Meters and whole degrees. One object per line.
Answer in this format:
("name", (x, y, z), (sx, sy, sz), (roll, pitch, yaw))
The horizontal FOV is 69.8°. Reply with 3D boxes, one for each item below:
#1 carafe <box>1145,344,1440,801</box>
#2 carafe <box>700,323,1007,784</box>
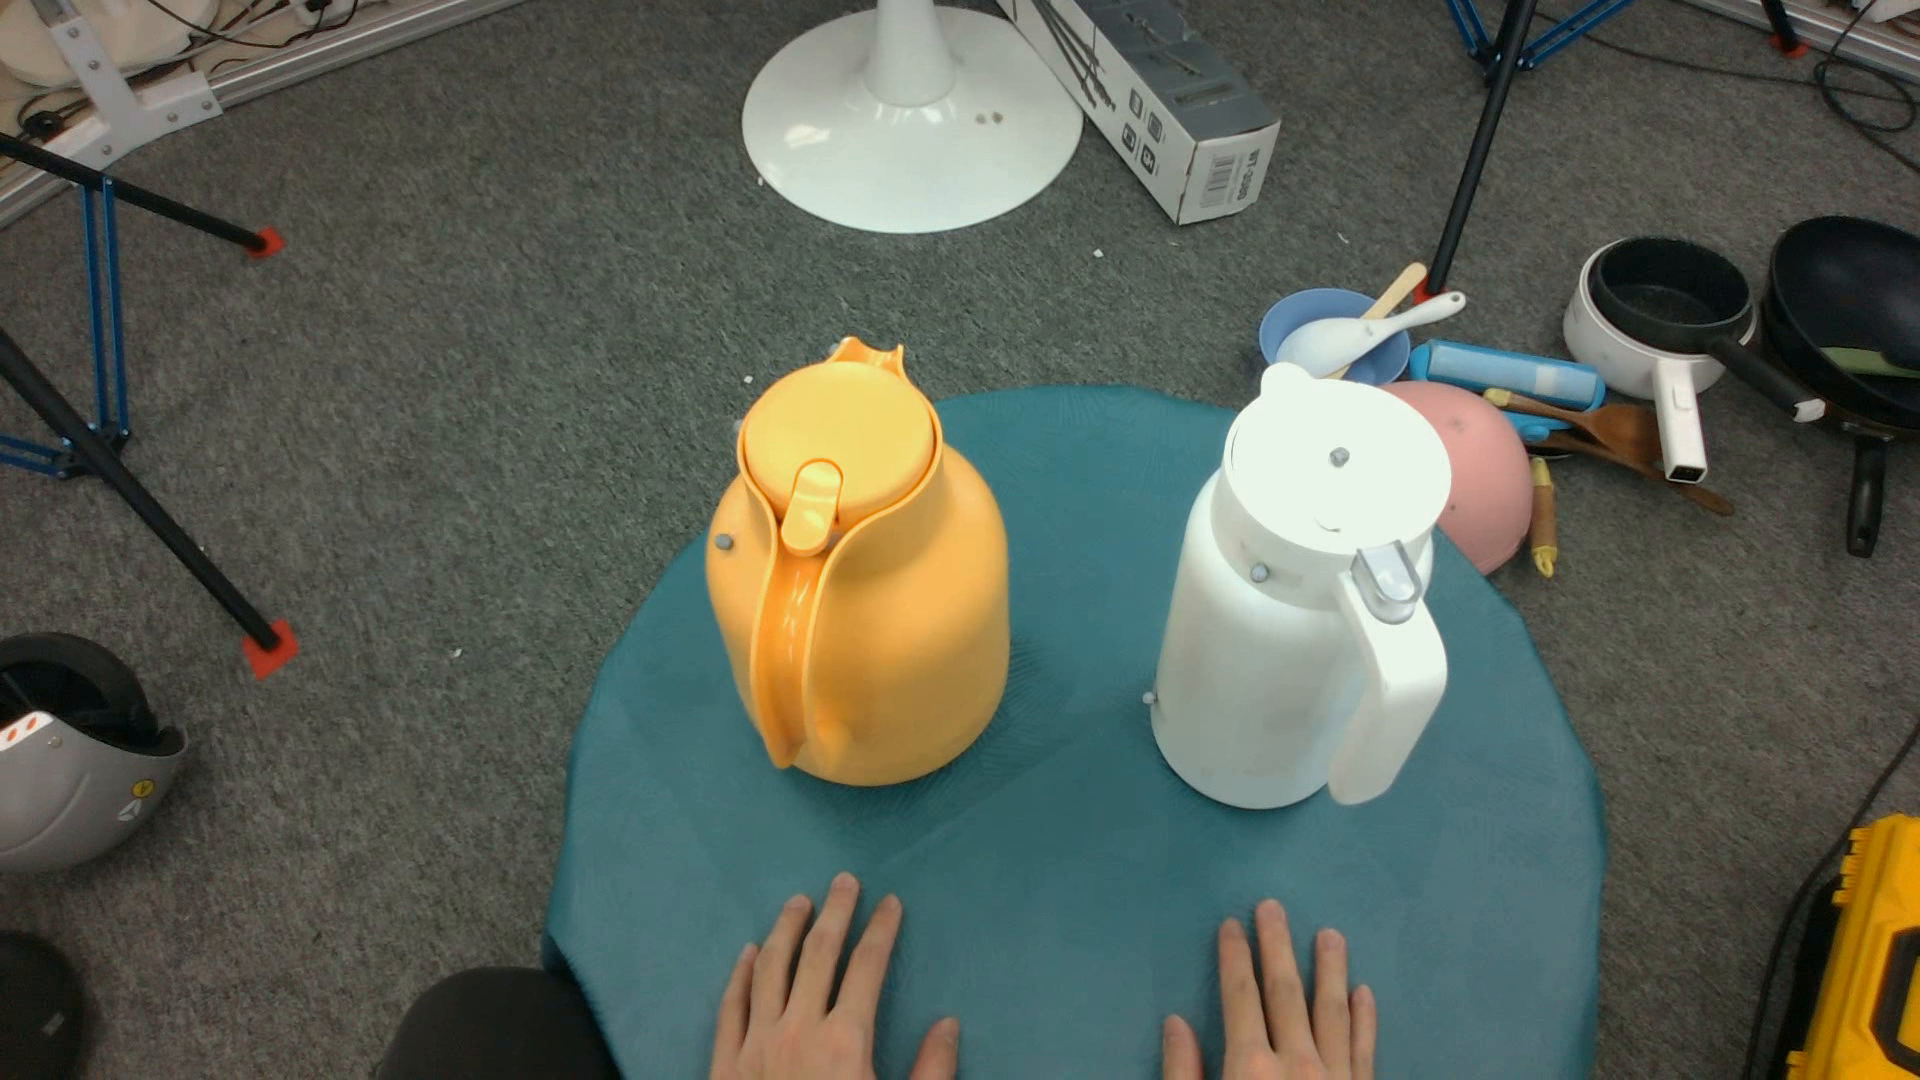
("carafe", (0.172, 0.047, 0.712), (0.124, 0.267, 0.173), (-12, 57, -9))
("carafe", (-0.063, 0.027, 0.729), (0.163, 0.259, 0.203), (10, 55, 11))
